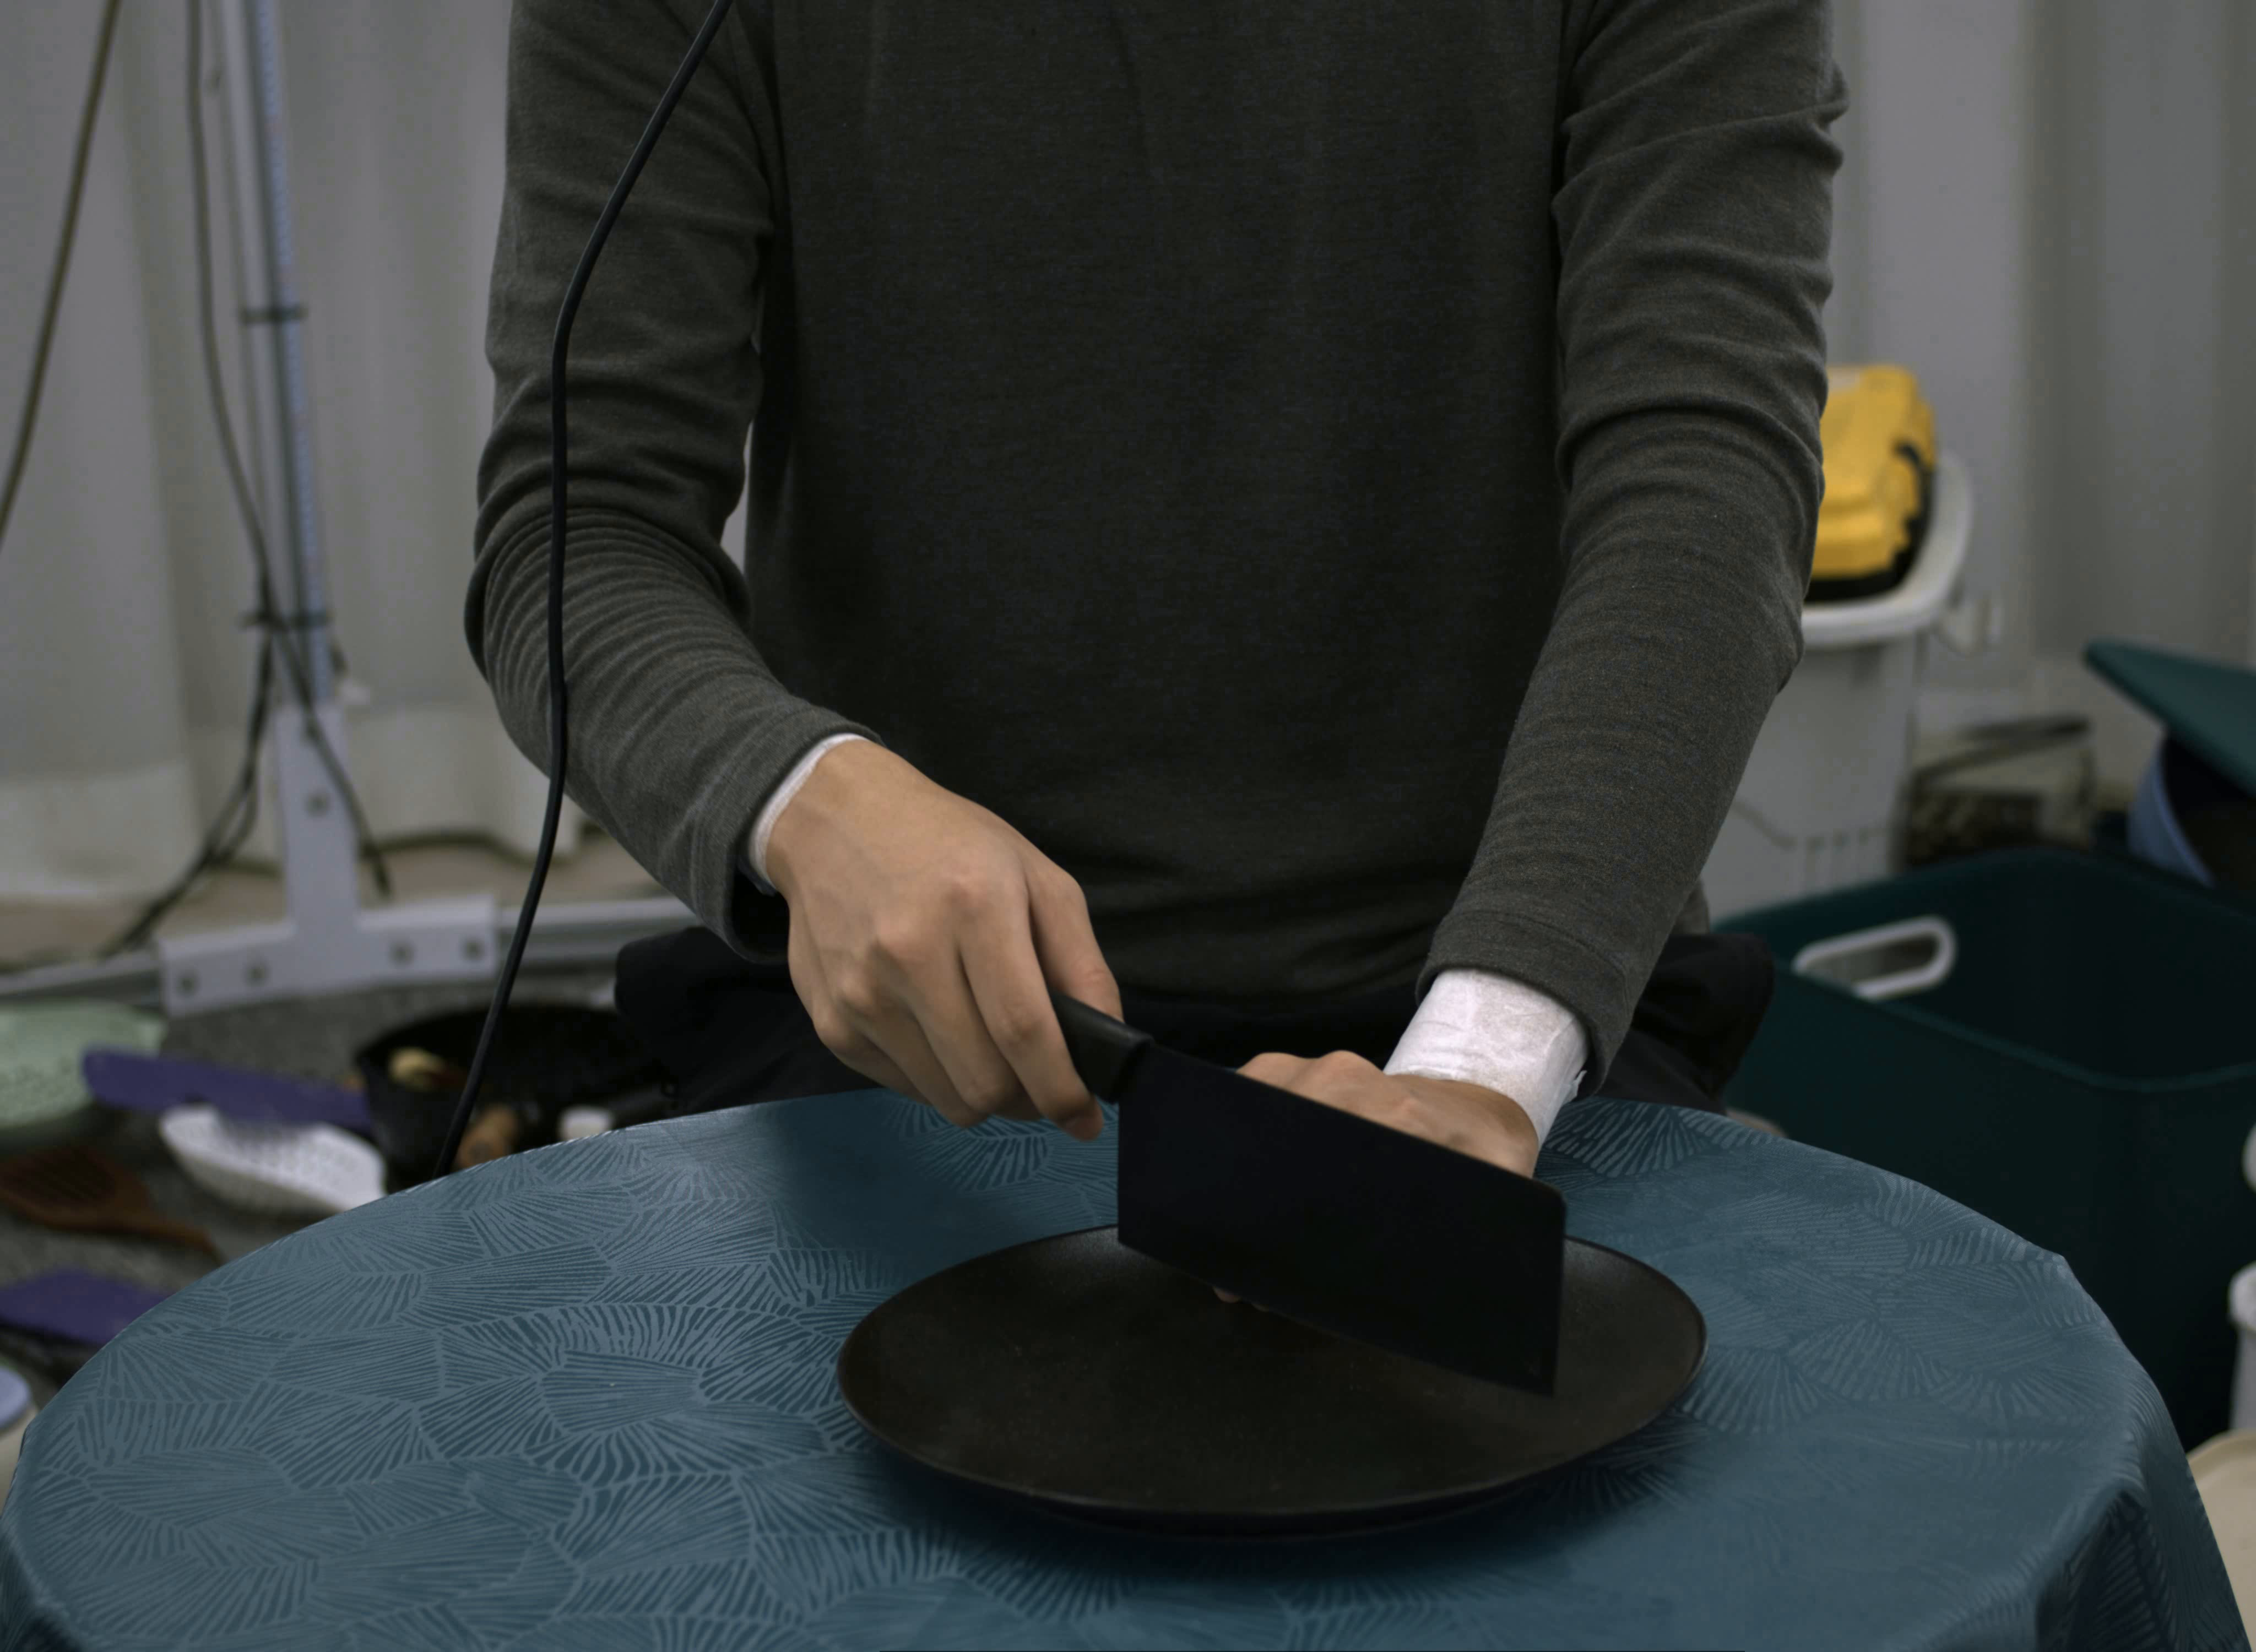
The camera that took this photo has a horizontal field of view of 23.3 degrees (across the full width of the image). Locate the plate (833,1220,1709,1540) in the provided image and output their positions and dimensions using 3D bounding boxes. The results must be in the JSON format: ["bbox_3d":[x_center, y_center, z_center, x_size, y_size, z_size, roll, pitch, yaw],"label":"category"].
[{"bbox_3d":[0.040,0.154,1.517,0.243,0.023,0.246,-3,15,0],"label":"plate"}]

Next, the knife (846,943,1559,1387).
[{"bbox_3d":[0.017,0.091,1.575,0.021,0.080,0.305,-9,21,-40],"label":"knife"}]
